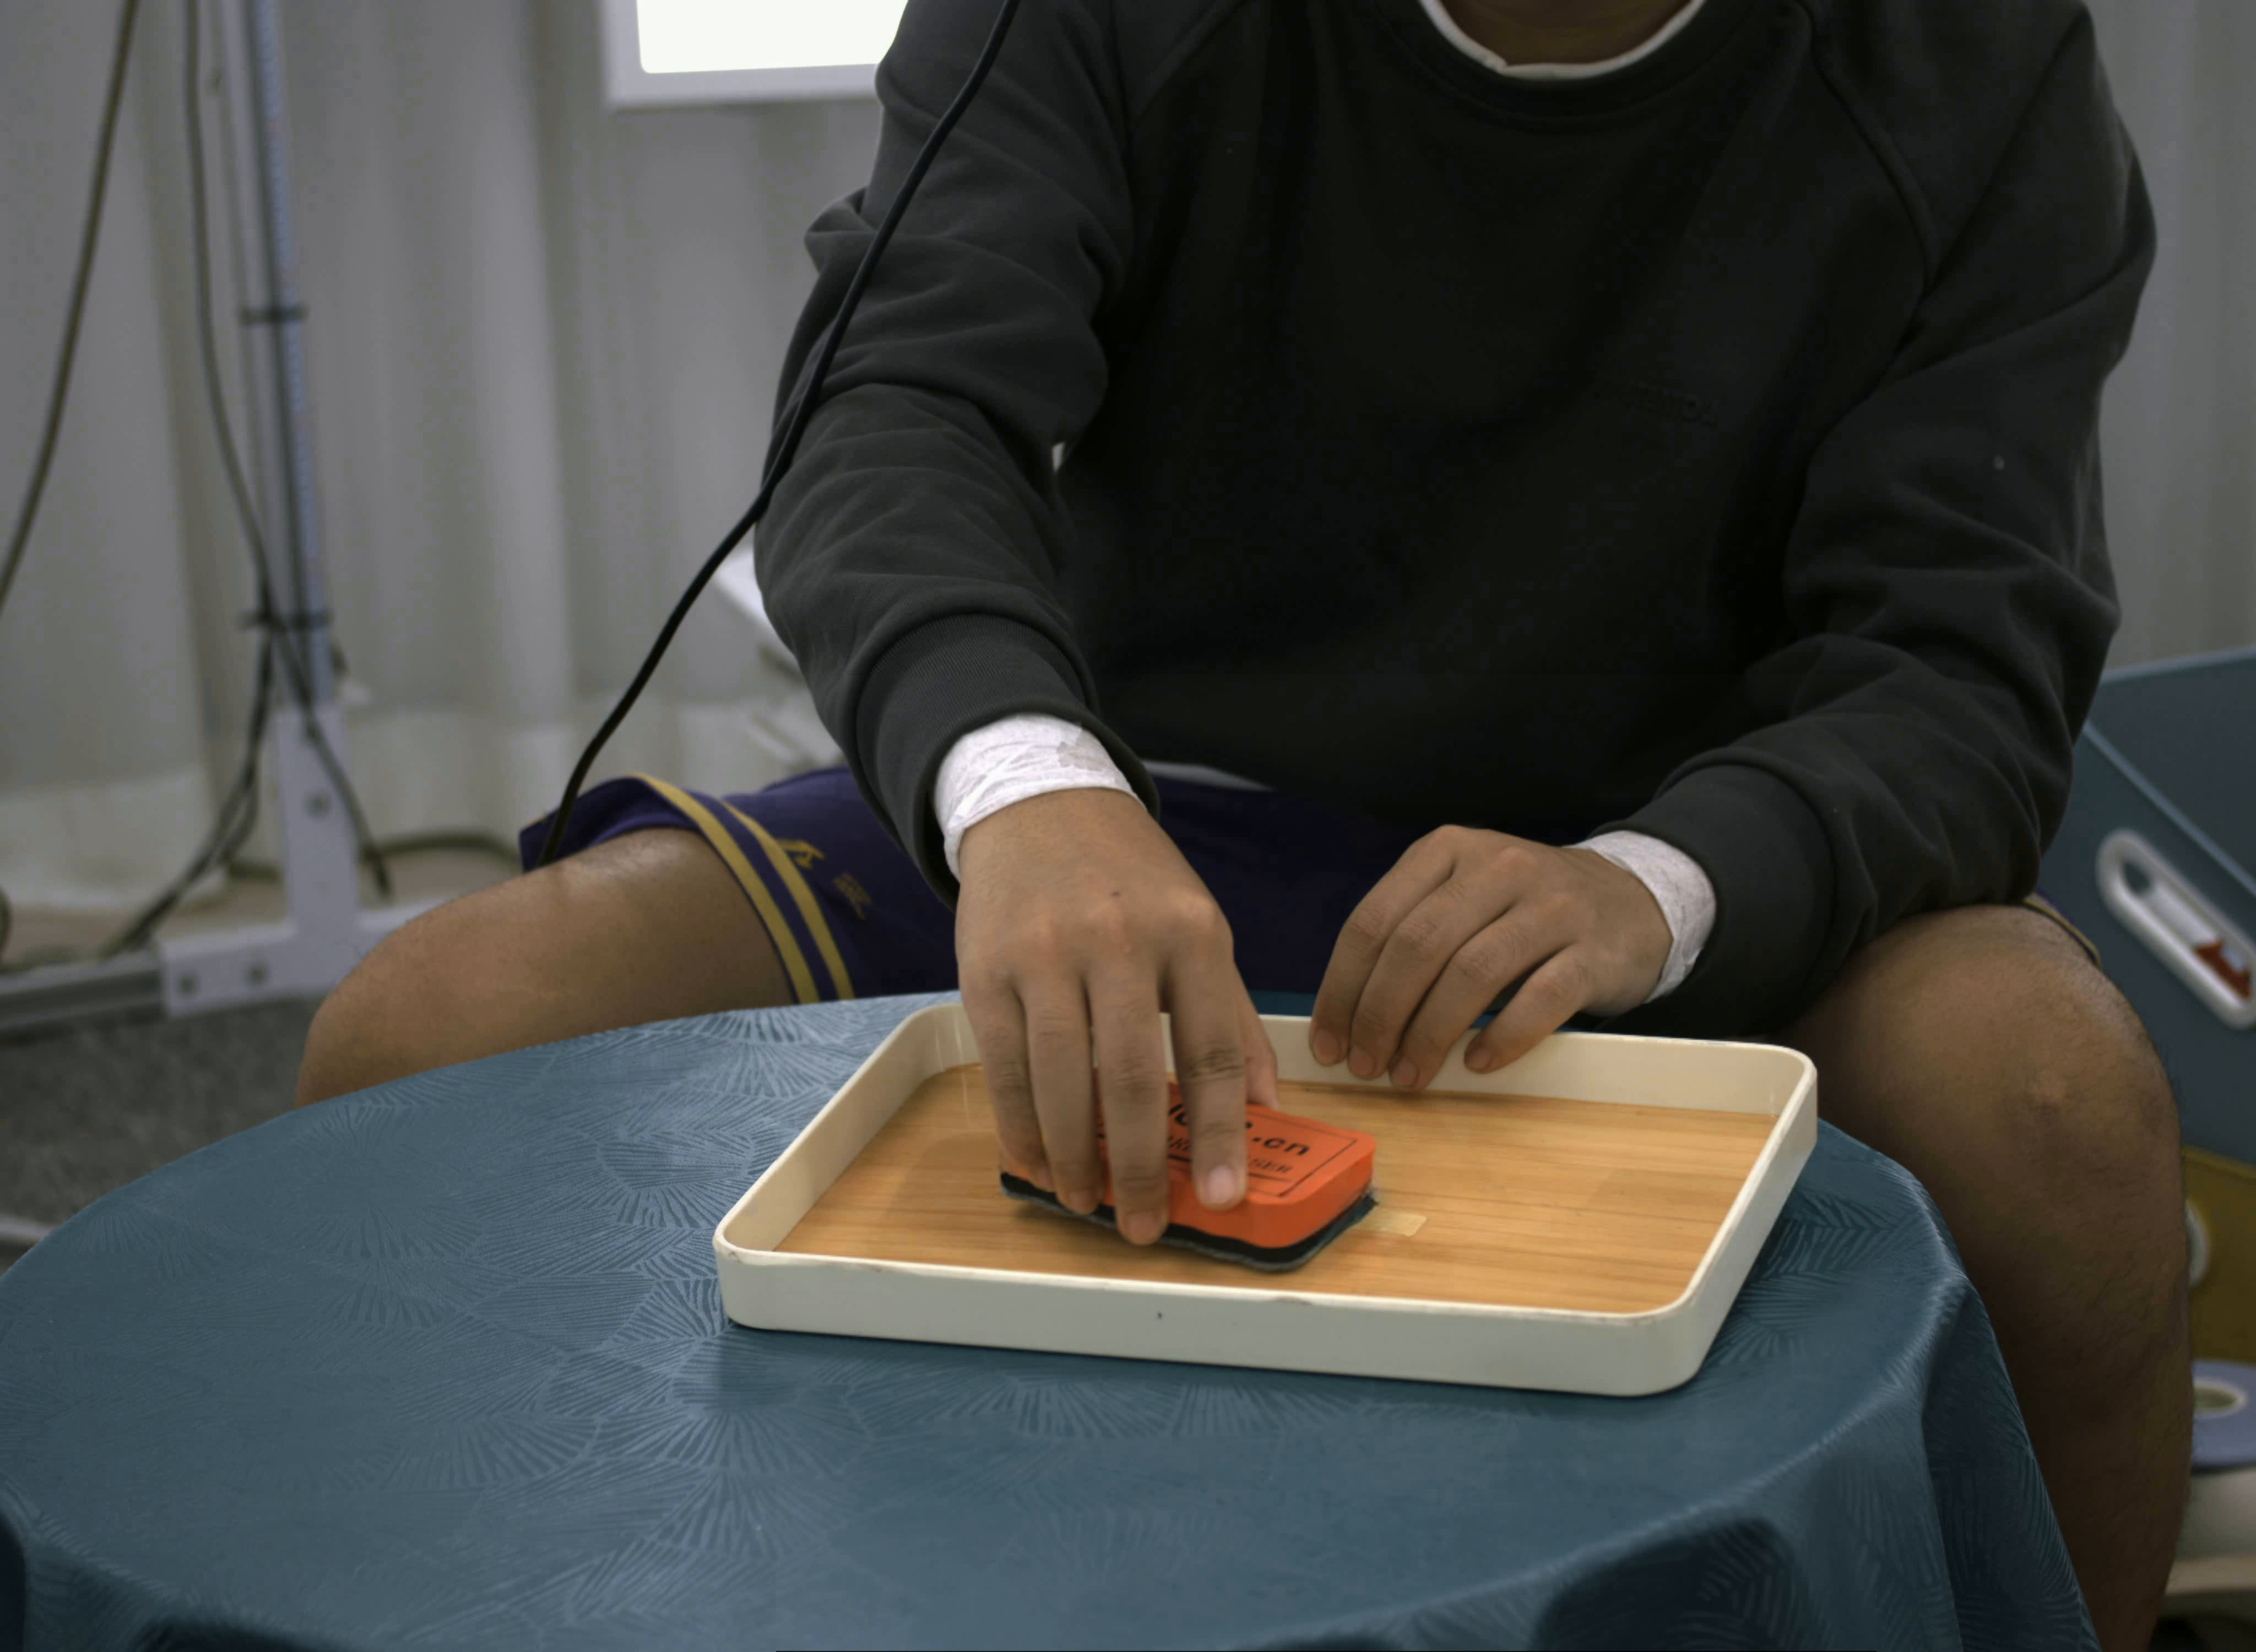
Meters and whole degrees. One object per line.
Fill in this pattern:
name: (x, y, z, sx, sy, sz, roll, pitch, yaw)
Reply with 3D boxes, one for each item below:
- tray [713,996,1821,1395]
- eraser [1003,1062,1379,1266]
tray: (0.044, 0.108, 1.641, 0.300, 0.027, 0.193, 3, 22, 20)
eraser: (0.019, 0.101, 1.642, 0.108, 0.023, 0.059, 13, 27, 32)
